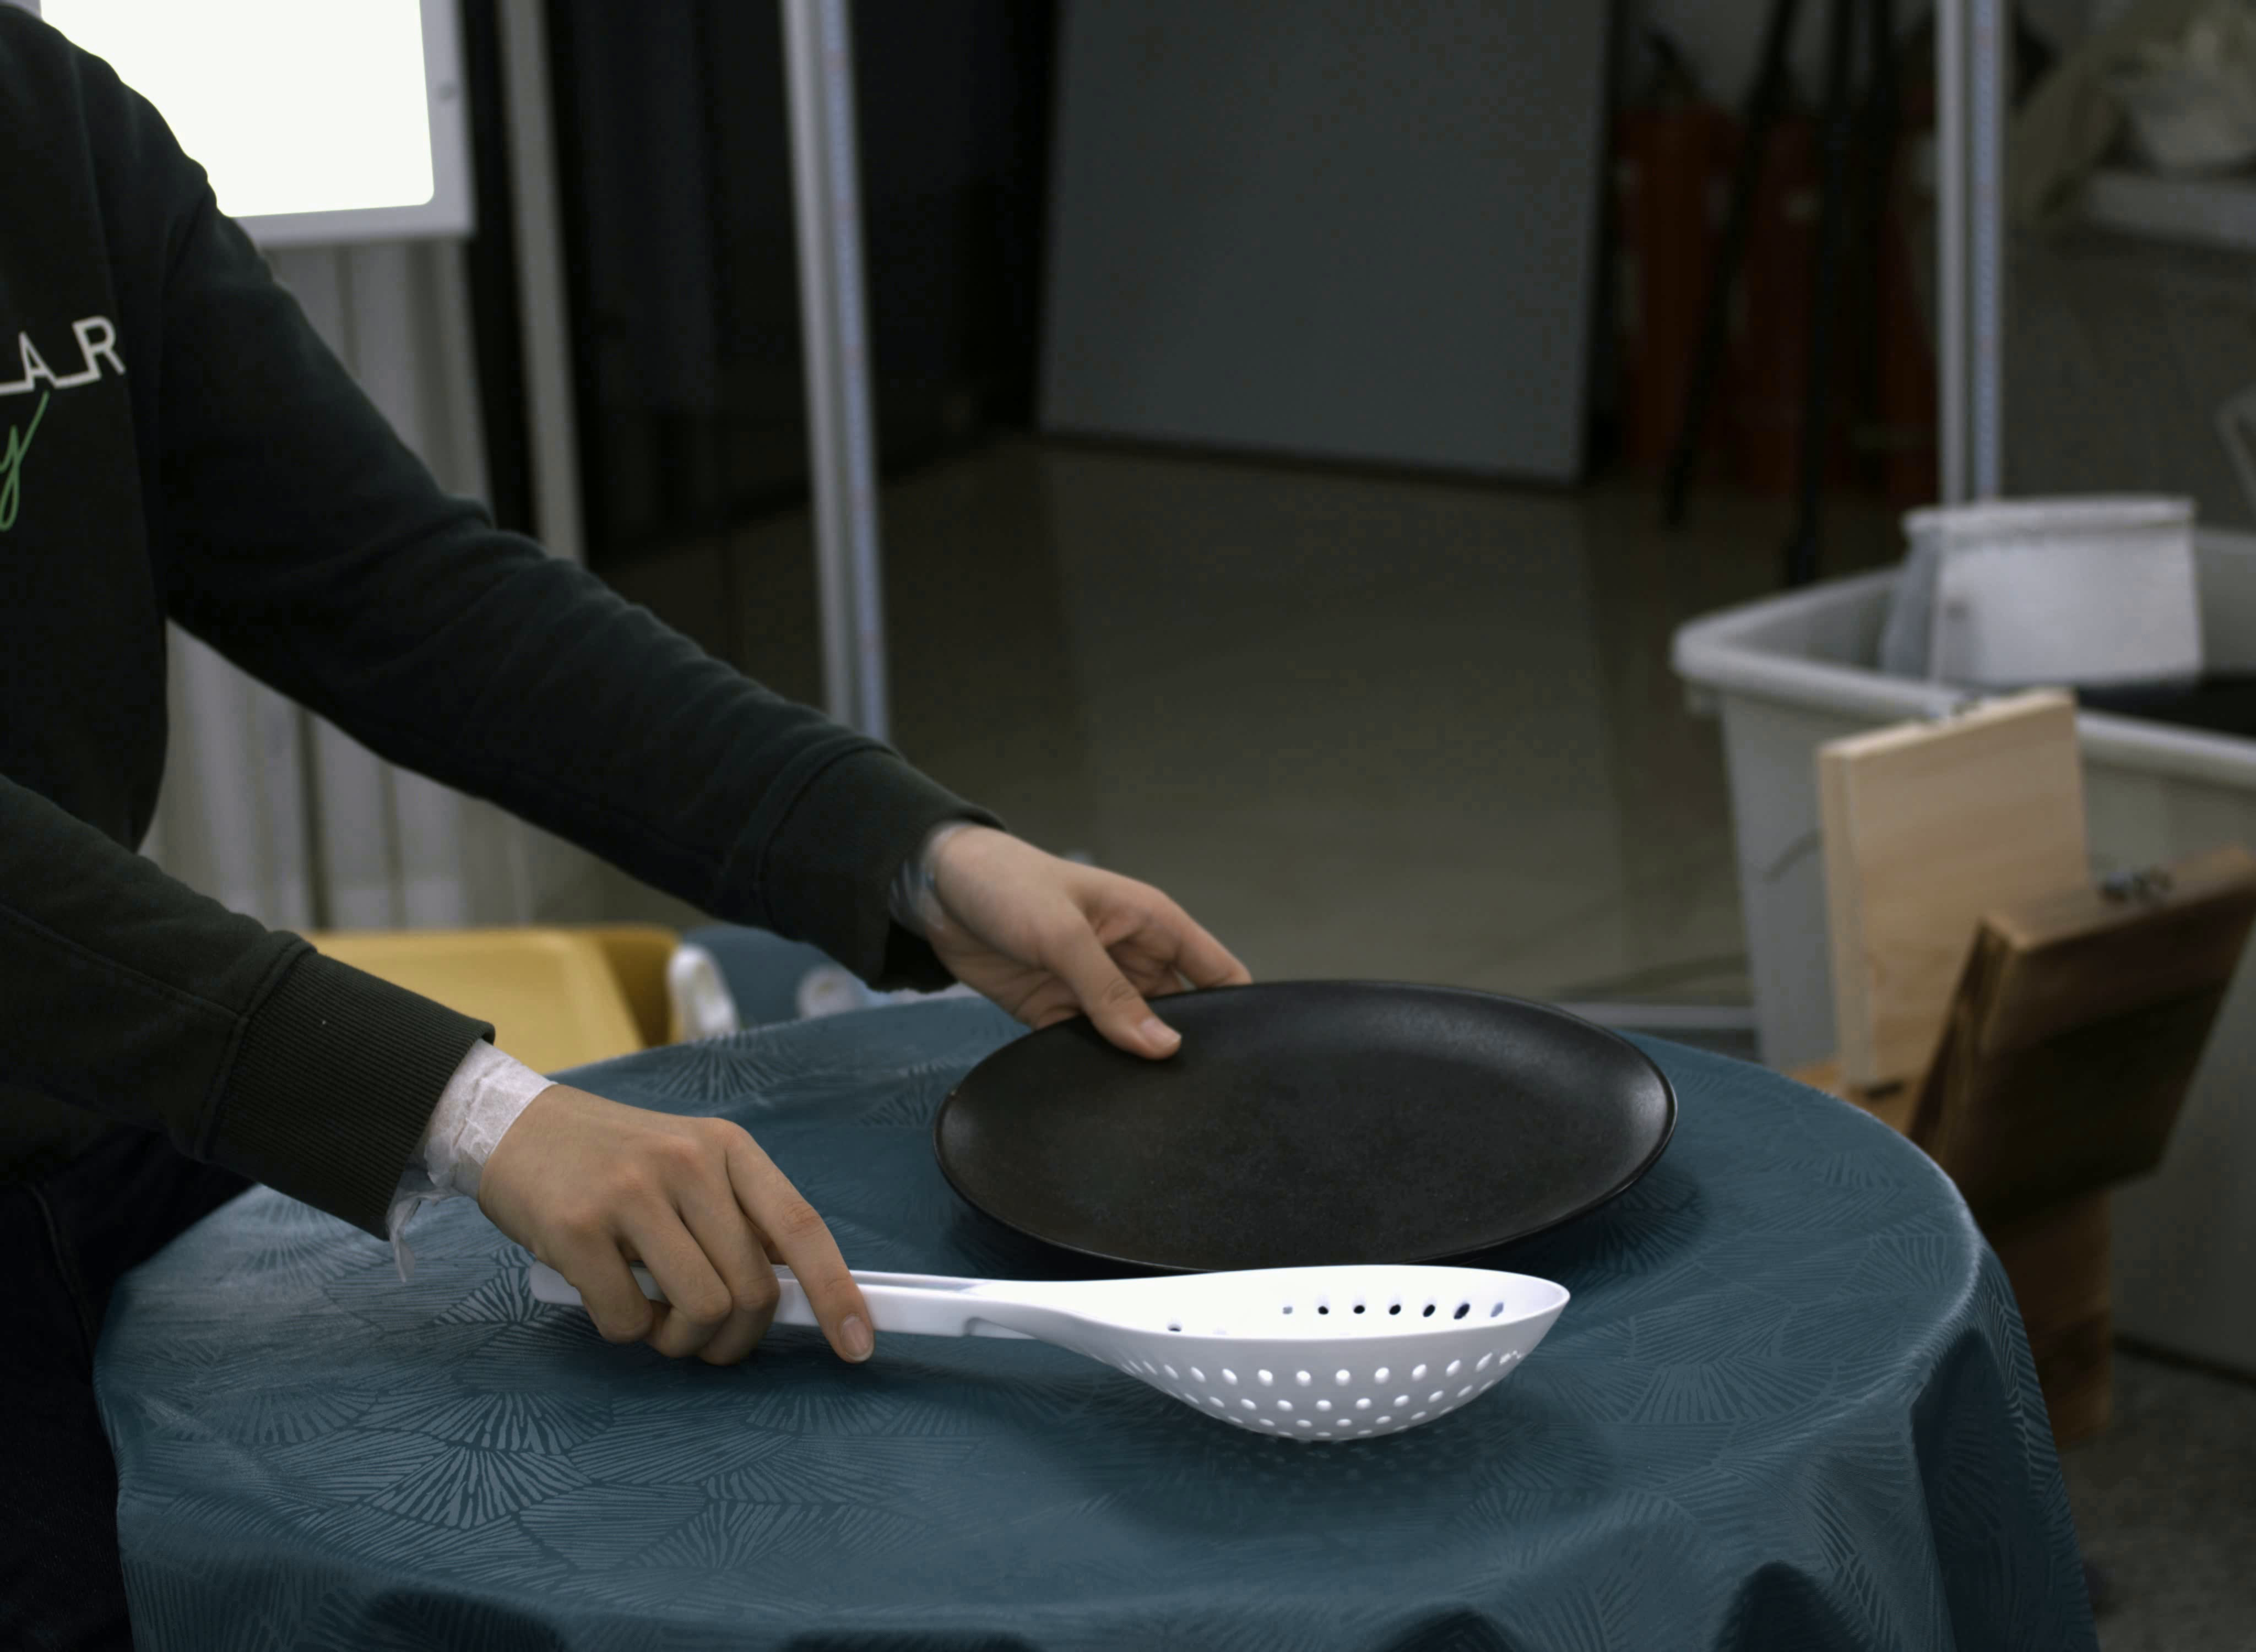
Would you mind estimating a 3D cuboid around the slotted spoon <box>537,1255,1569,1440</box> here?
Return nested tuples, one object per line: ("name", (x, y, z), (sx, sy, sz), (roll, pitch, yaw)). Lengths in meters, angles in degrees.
("slotted spoon", (-0.032, 0.142, 1.590), (0.351, 0.046, 0.133), (5, 6, 33))

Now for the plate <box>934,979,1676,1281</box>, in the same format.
("plate", (0.057, 0.103, 1.744), (0.241, 0.023, 0.245), (-4, 19, 0))
